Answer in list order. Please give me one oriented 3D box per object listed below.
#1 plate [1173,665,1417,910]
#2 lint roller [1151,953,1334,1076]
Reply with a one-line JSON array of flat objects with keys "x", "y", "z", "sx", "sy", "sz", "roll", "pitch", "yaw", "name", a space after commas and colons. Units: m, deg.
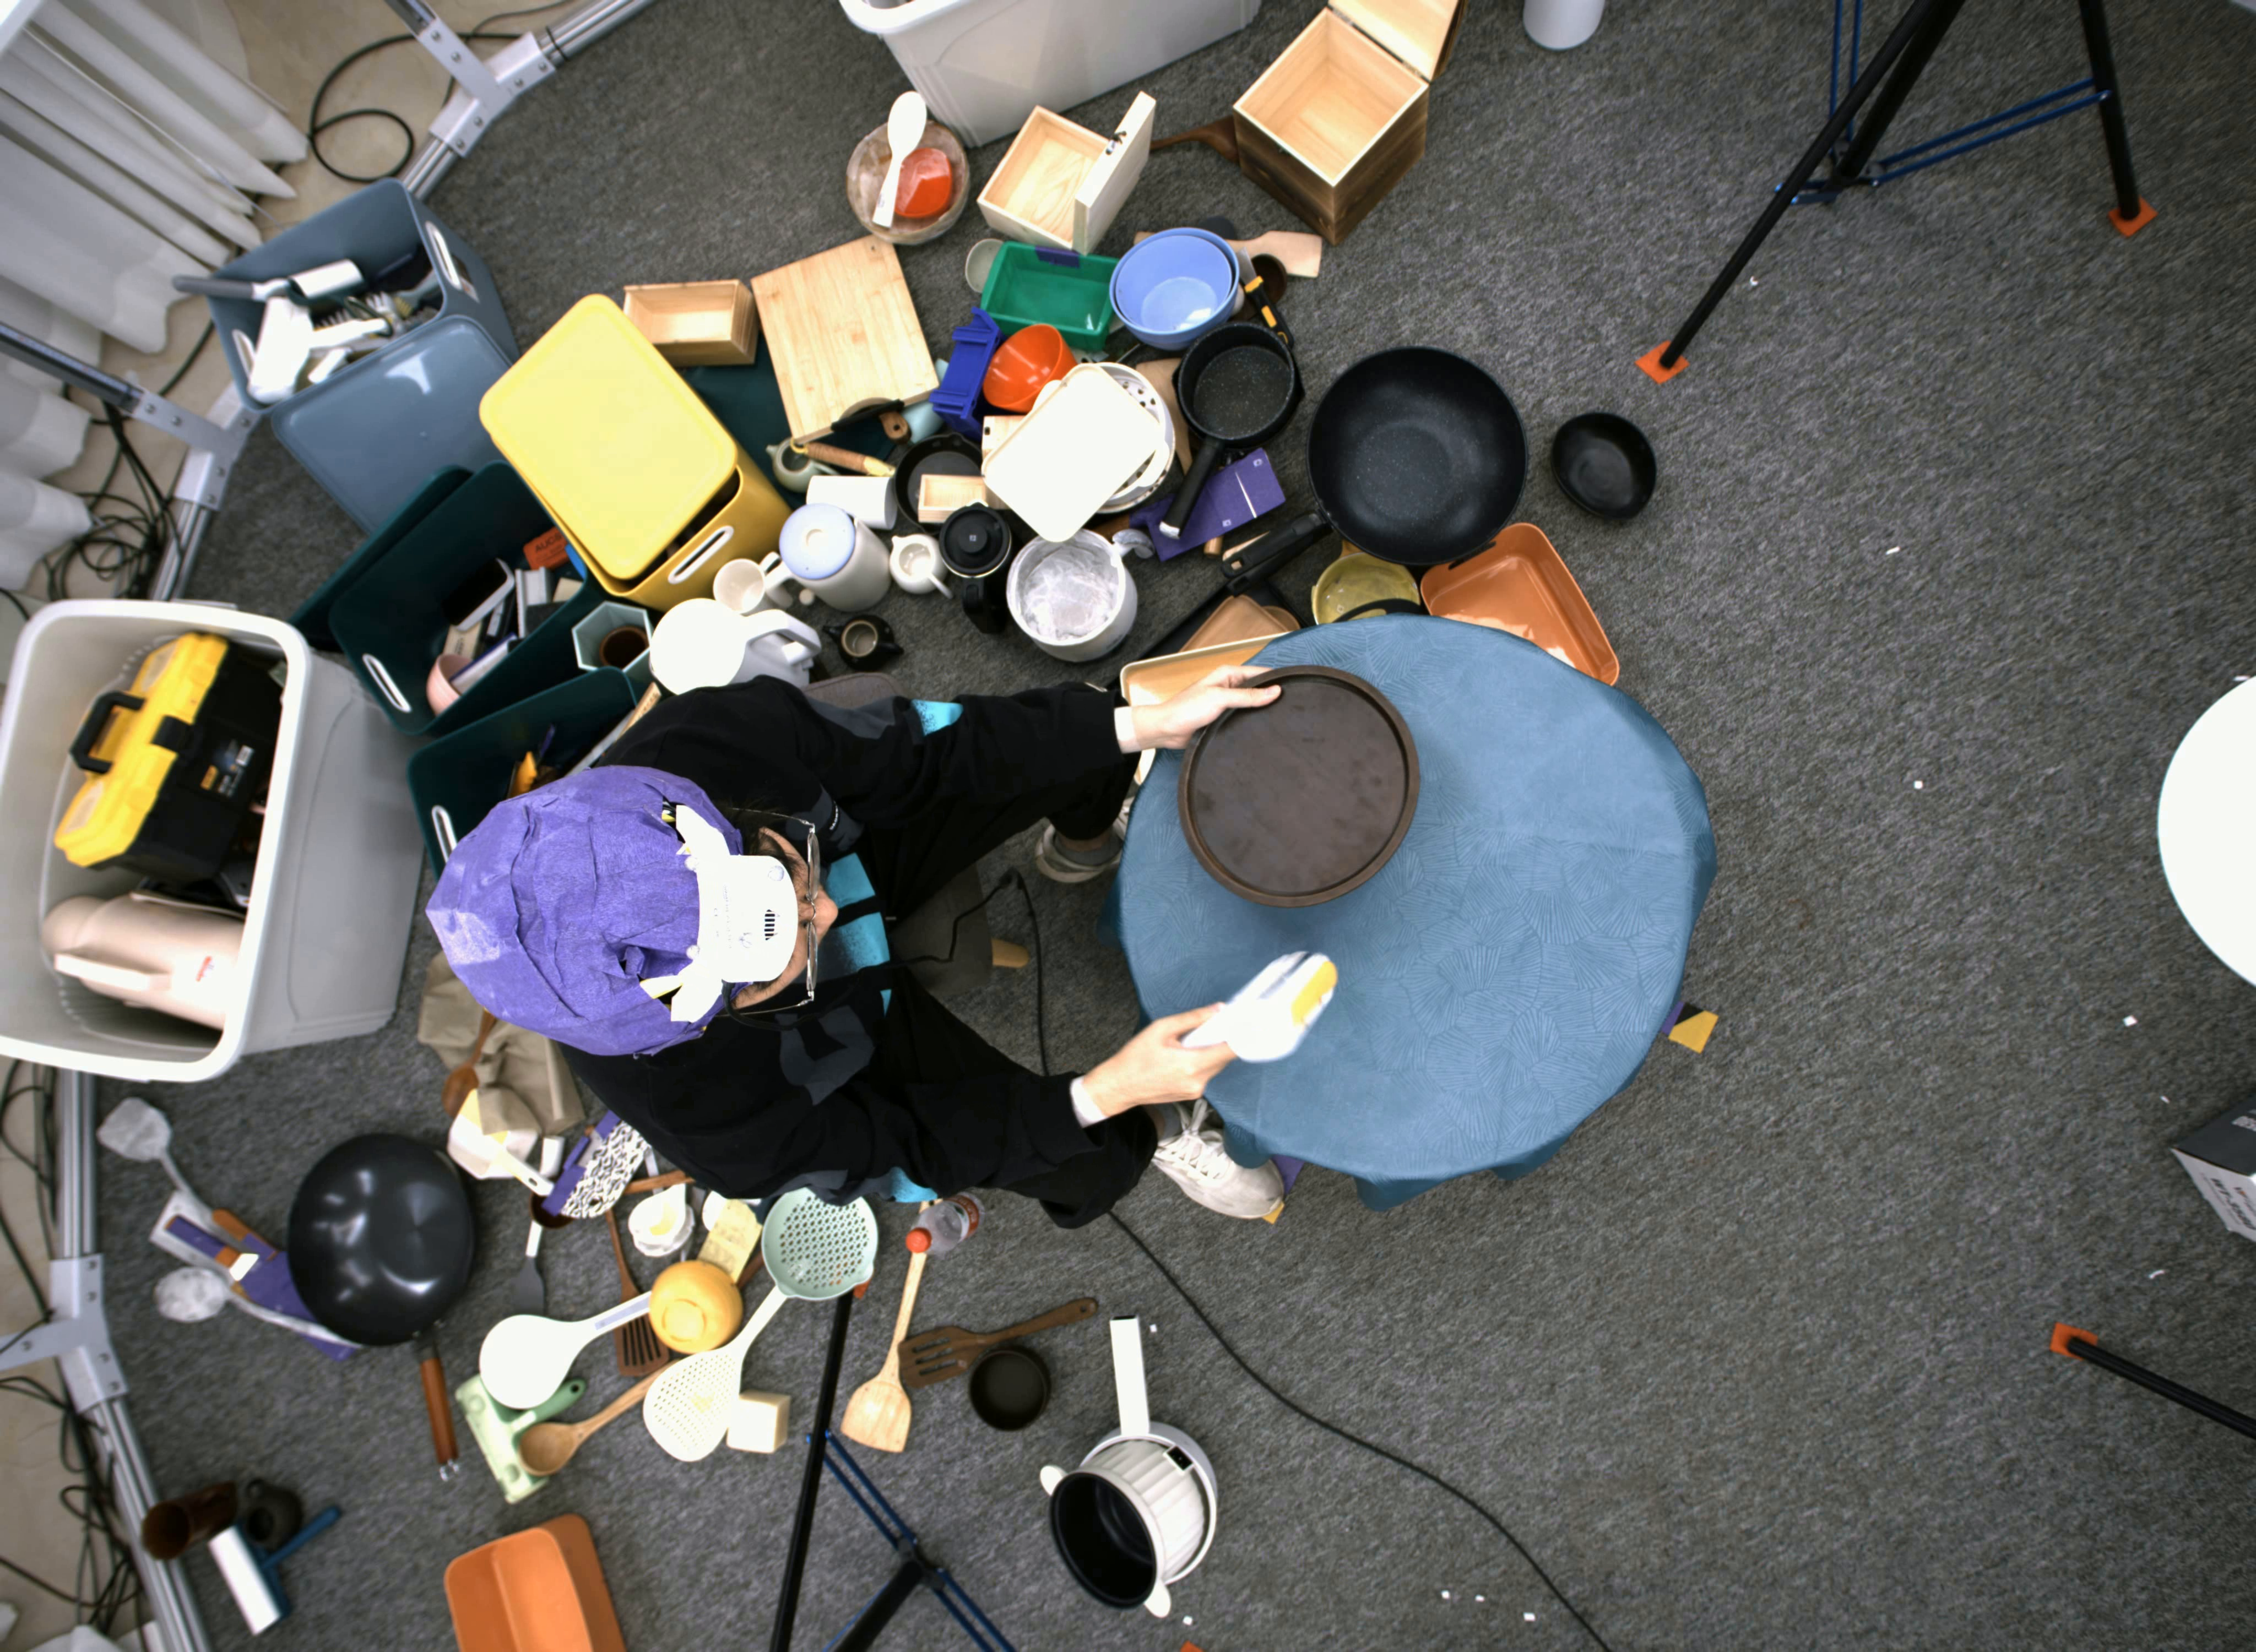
[{"x": 0.166, "y": -0.040, "z": 1.387, "sx": 0.257, "sy": 0.029, "sz": 0.252, "roll": -6, "pitch": 77, "yaw": 25, "name": "plate"}, {"x": 0.095, "y": 0.192, "z": 1.357, "sx": 0.195, "sy": 0.189, "sz": 0.074, "roll": -23, "pitch": 93, "yaw": 31, "name": "lint roller"}]
